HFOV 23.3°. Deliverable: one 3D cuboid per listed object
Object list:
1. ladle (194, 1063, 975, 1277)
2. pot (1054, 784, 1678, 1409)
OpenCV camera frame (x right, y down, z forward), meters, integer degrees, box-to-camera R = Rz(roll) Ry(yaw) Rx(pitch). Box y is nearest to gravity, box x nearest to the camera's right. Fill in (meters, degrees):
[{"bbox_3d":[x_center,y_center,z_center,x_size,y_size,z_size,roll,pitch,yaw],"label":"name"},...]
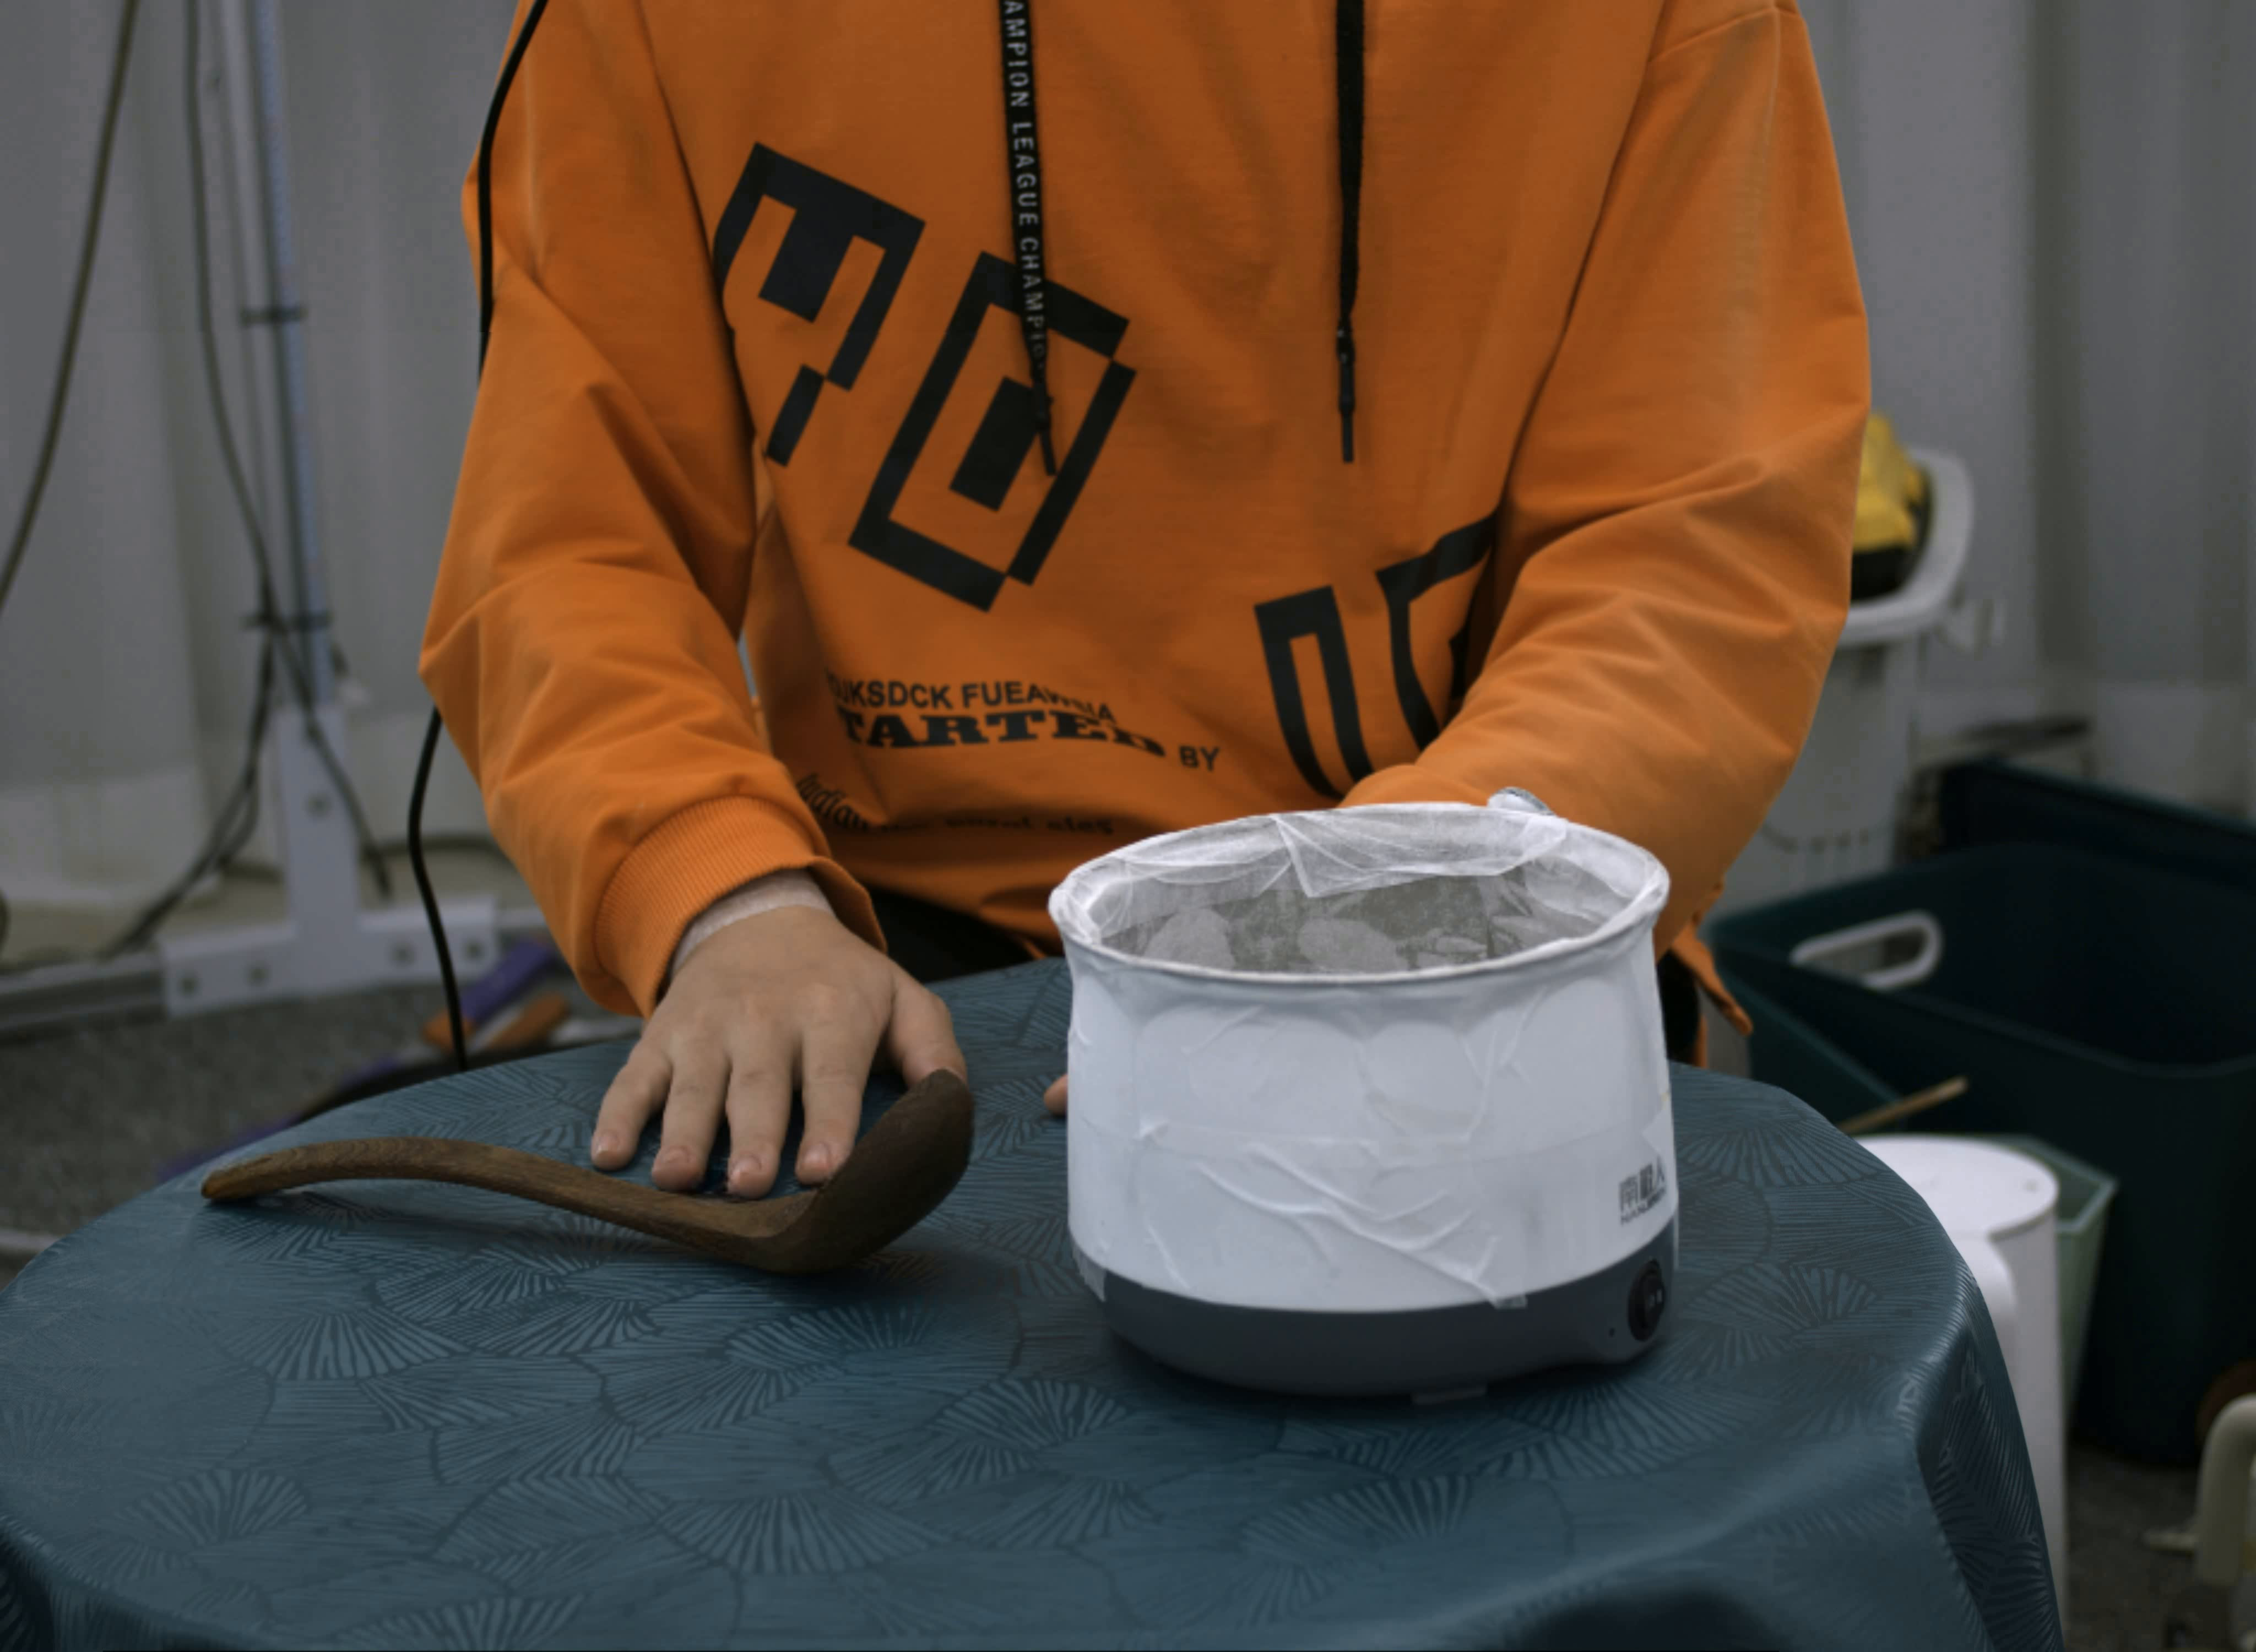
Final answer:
[{"bbox_3d":[-0.173,0.095,1.689,0.274,0.071,0.076,5,14,27],"label":"ladle"},{"bbox_3d":[0.082,0.072,1.596,0.179,0.136,0.234,6,17,28],"label":"pot"}]
